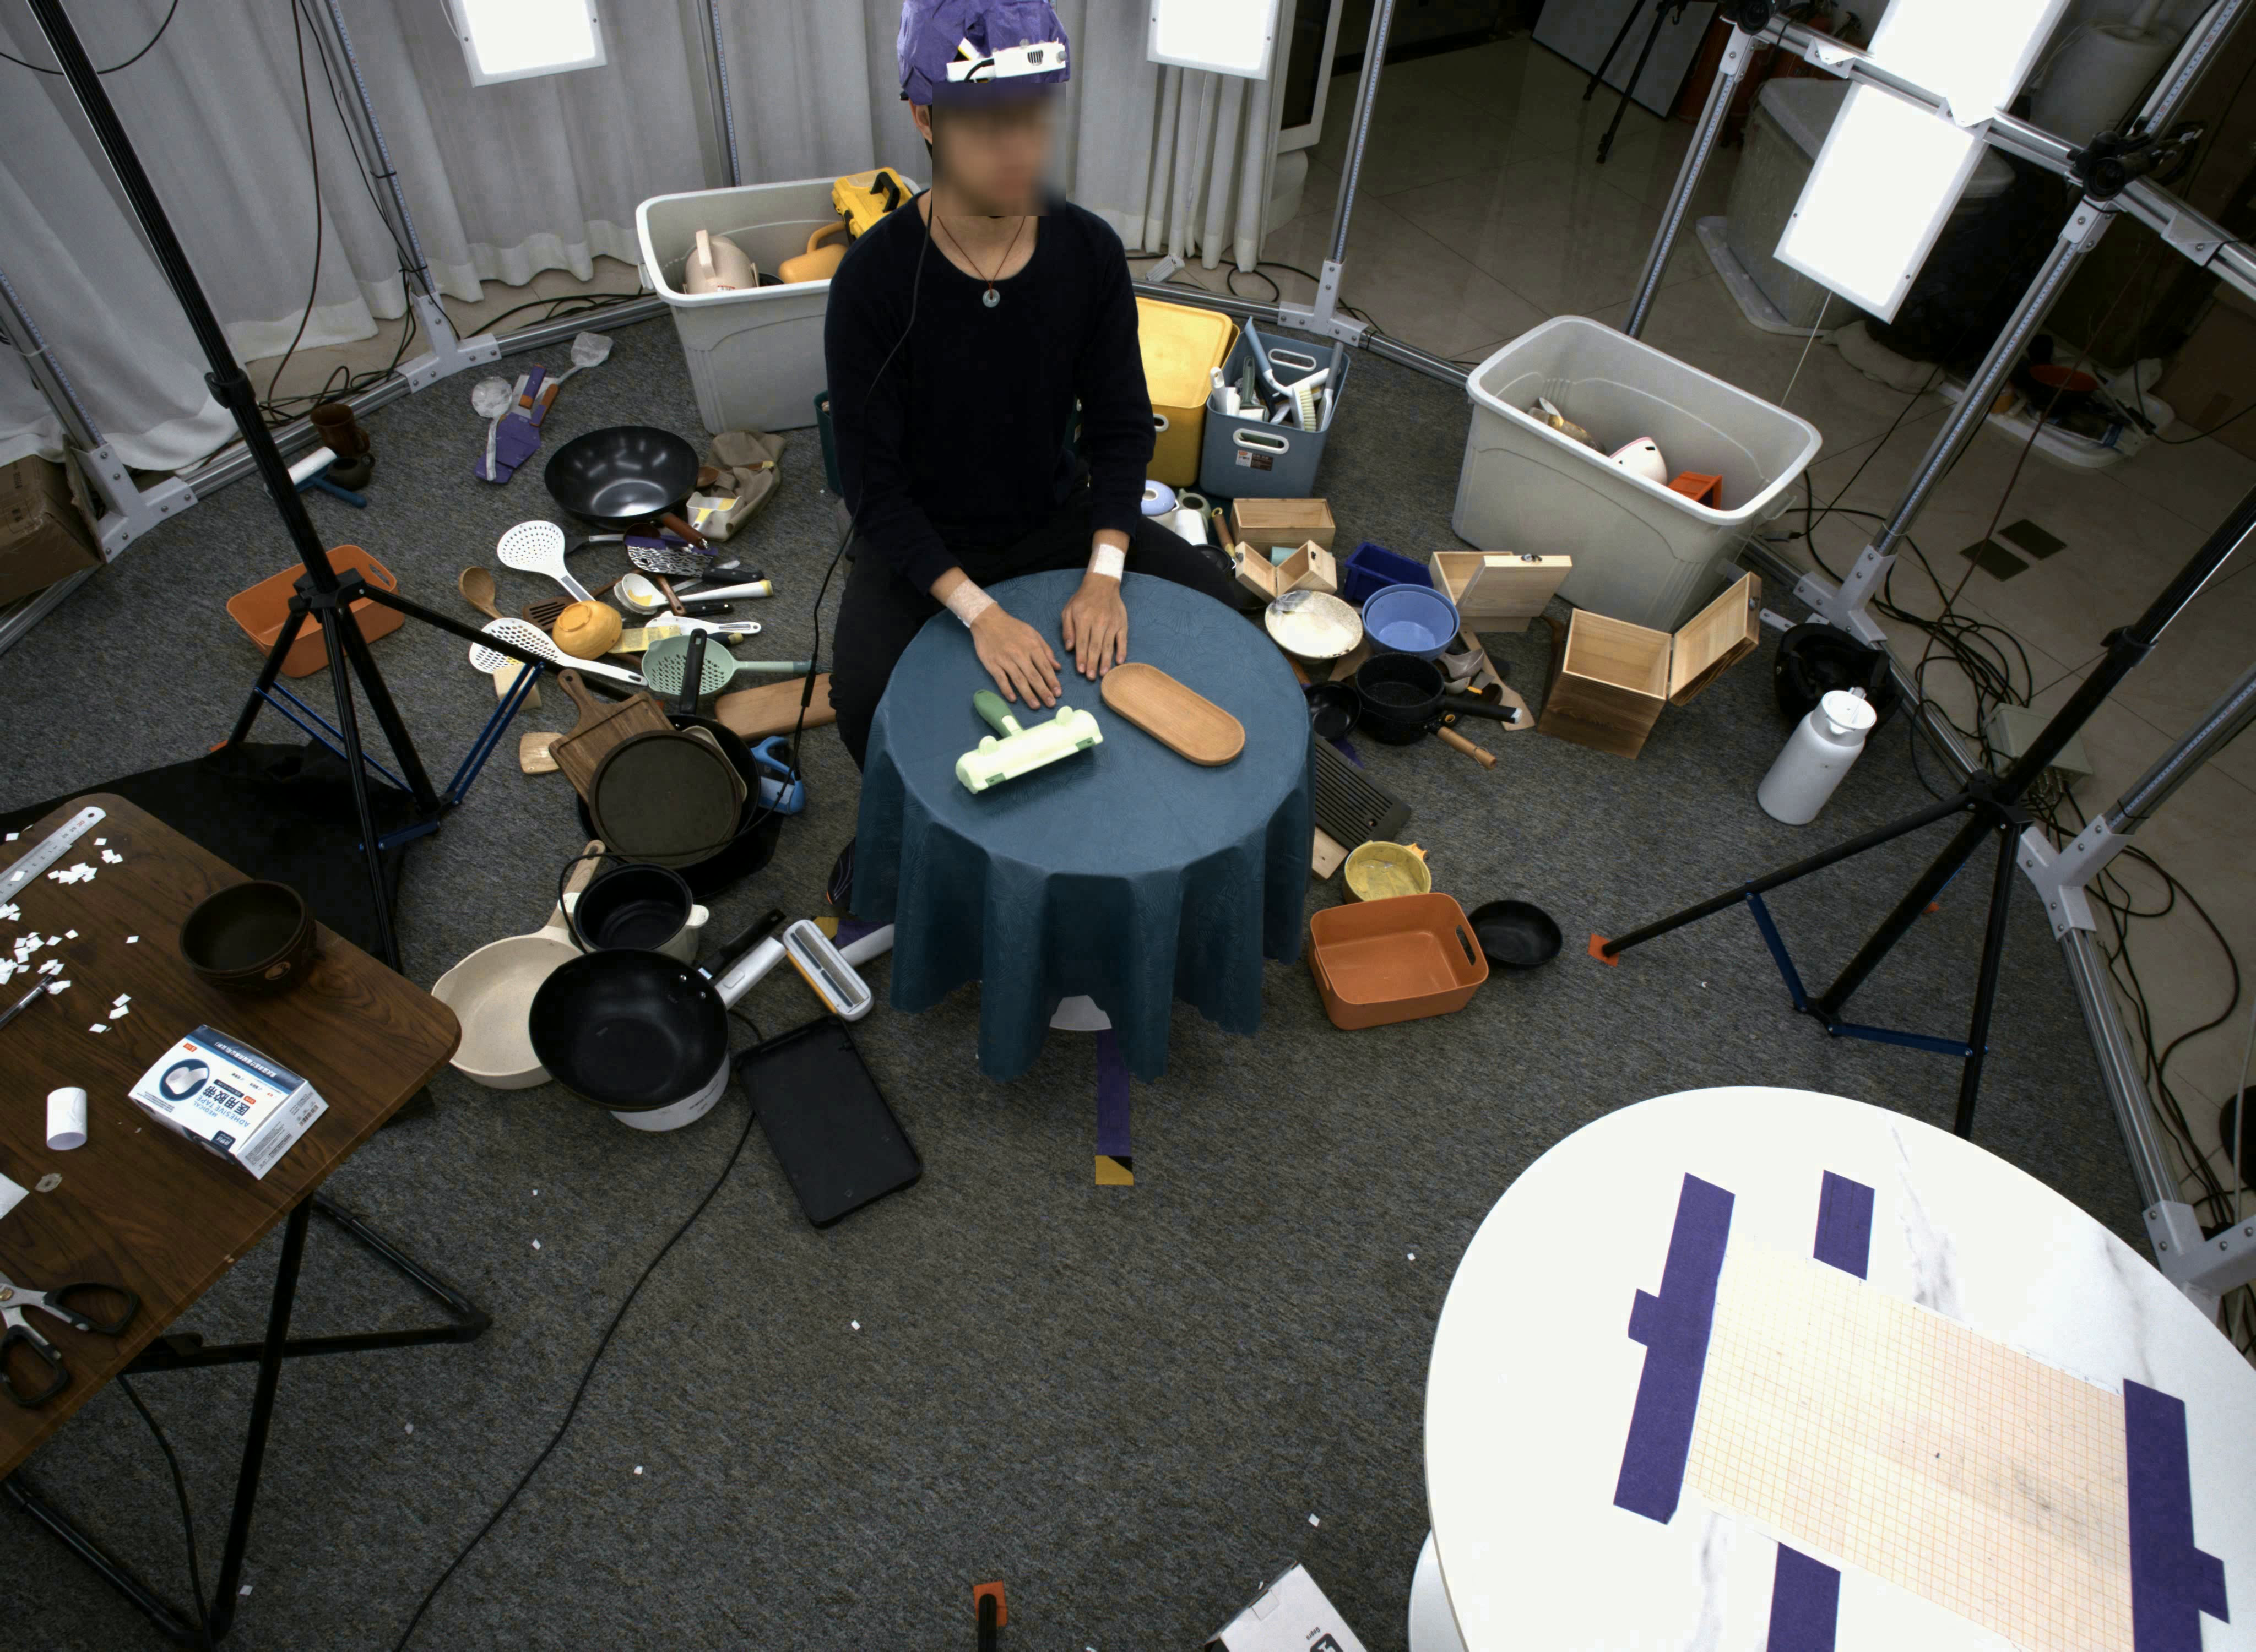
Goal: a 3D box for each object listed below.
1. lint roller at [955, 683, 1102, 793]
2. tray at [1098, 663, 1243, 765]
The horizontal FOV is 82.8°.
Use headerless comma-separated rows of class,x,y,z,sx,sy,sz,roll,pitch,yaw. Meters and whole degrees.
lint roller,-0.161,-0.146,1.728,0.199,0.080,0.187,-23,60,-23
tray,0.058,-0.159,1.800,0.234,0.020,0.103,33,54,24
